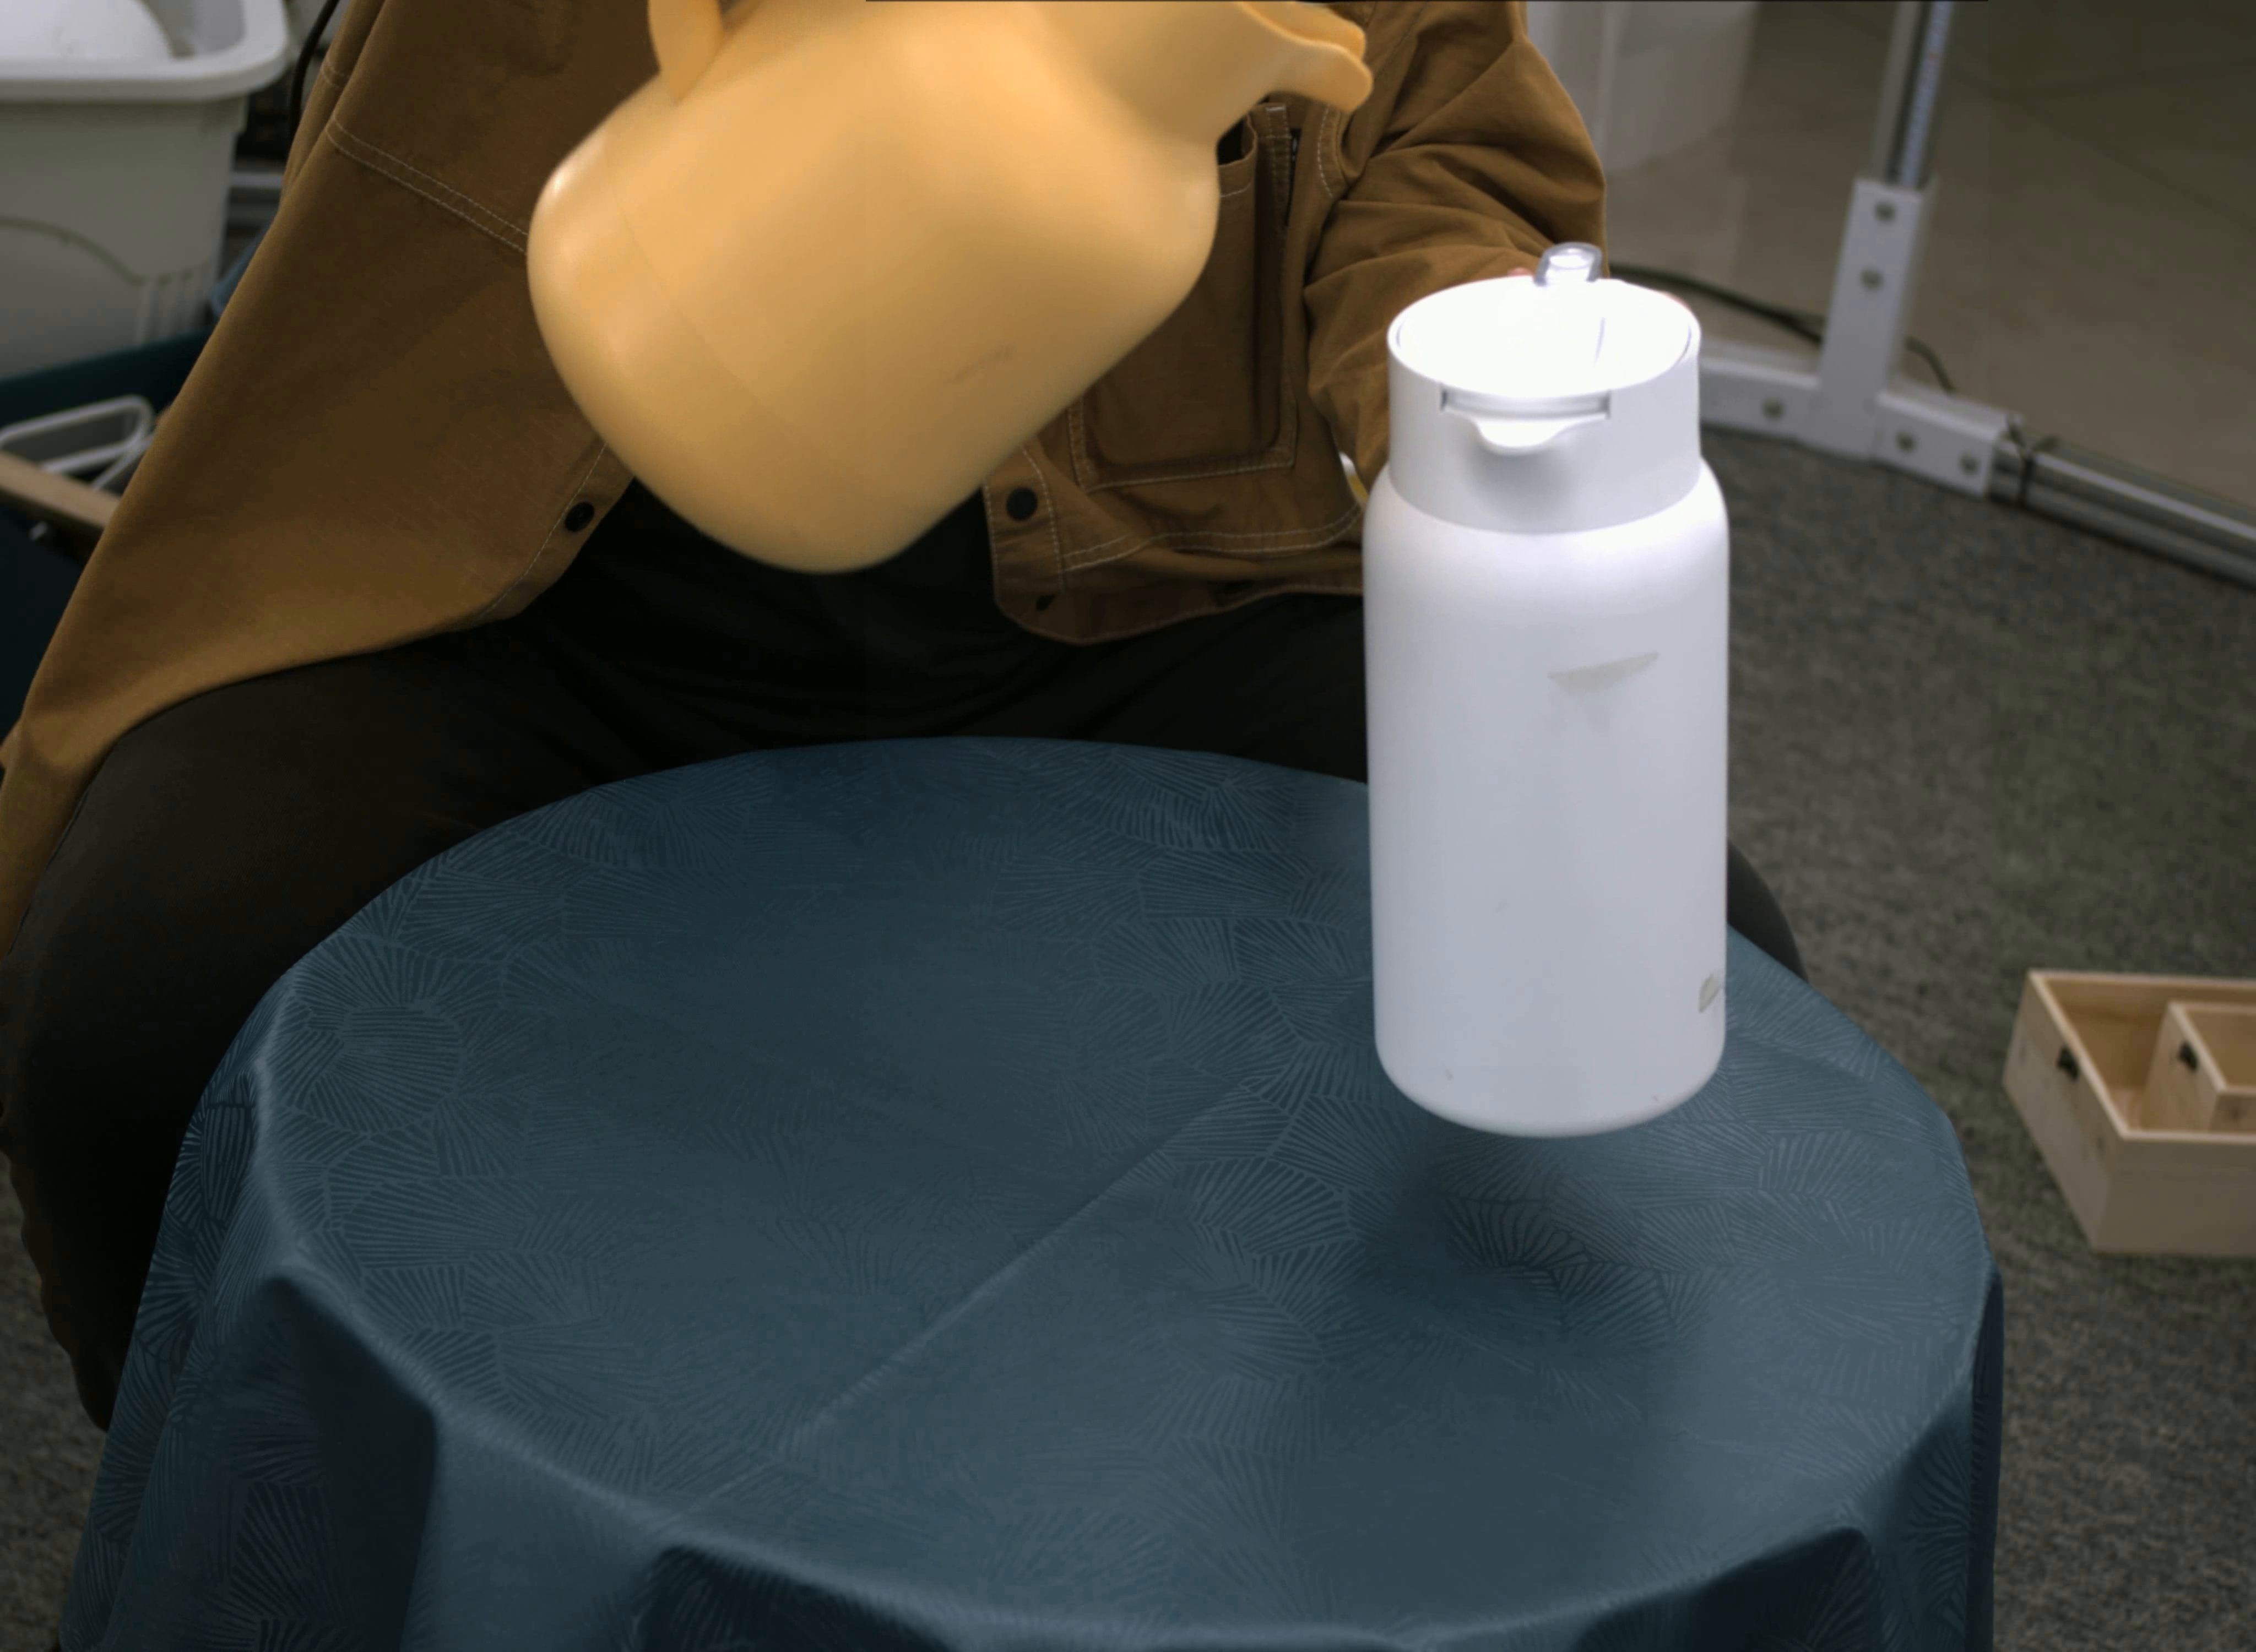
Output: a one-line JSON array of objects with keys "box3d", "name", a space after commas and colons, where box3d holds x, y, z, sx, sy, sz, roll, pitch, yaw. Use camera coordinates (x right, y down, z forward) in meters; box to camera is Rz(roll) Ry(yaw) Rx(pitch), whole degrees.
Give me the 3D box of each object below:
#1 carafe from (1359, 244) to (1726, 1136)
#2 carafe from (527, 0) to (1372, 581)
[{"box3d": [0.137, -0.047, 1.738, 0.124, 0.268, 0.173, 1, 27, 12], "name": "carafe"}, {"box3d": [-0.067, -0.217, 1.636, 0.201, 0.260, 0.164, 40, 22, -24], "name": "carafe"}]
